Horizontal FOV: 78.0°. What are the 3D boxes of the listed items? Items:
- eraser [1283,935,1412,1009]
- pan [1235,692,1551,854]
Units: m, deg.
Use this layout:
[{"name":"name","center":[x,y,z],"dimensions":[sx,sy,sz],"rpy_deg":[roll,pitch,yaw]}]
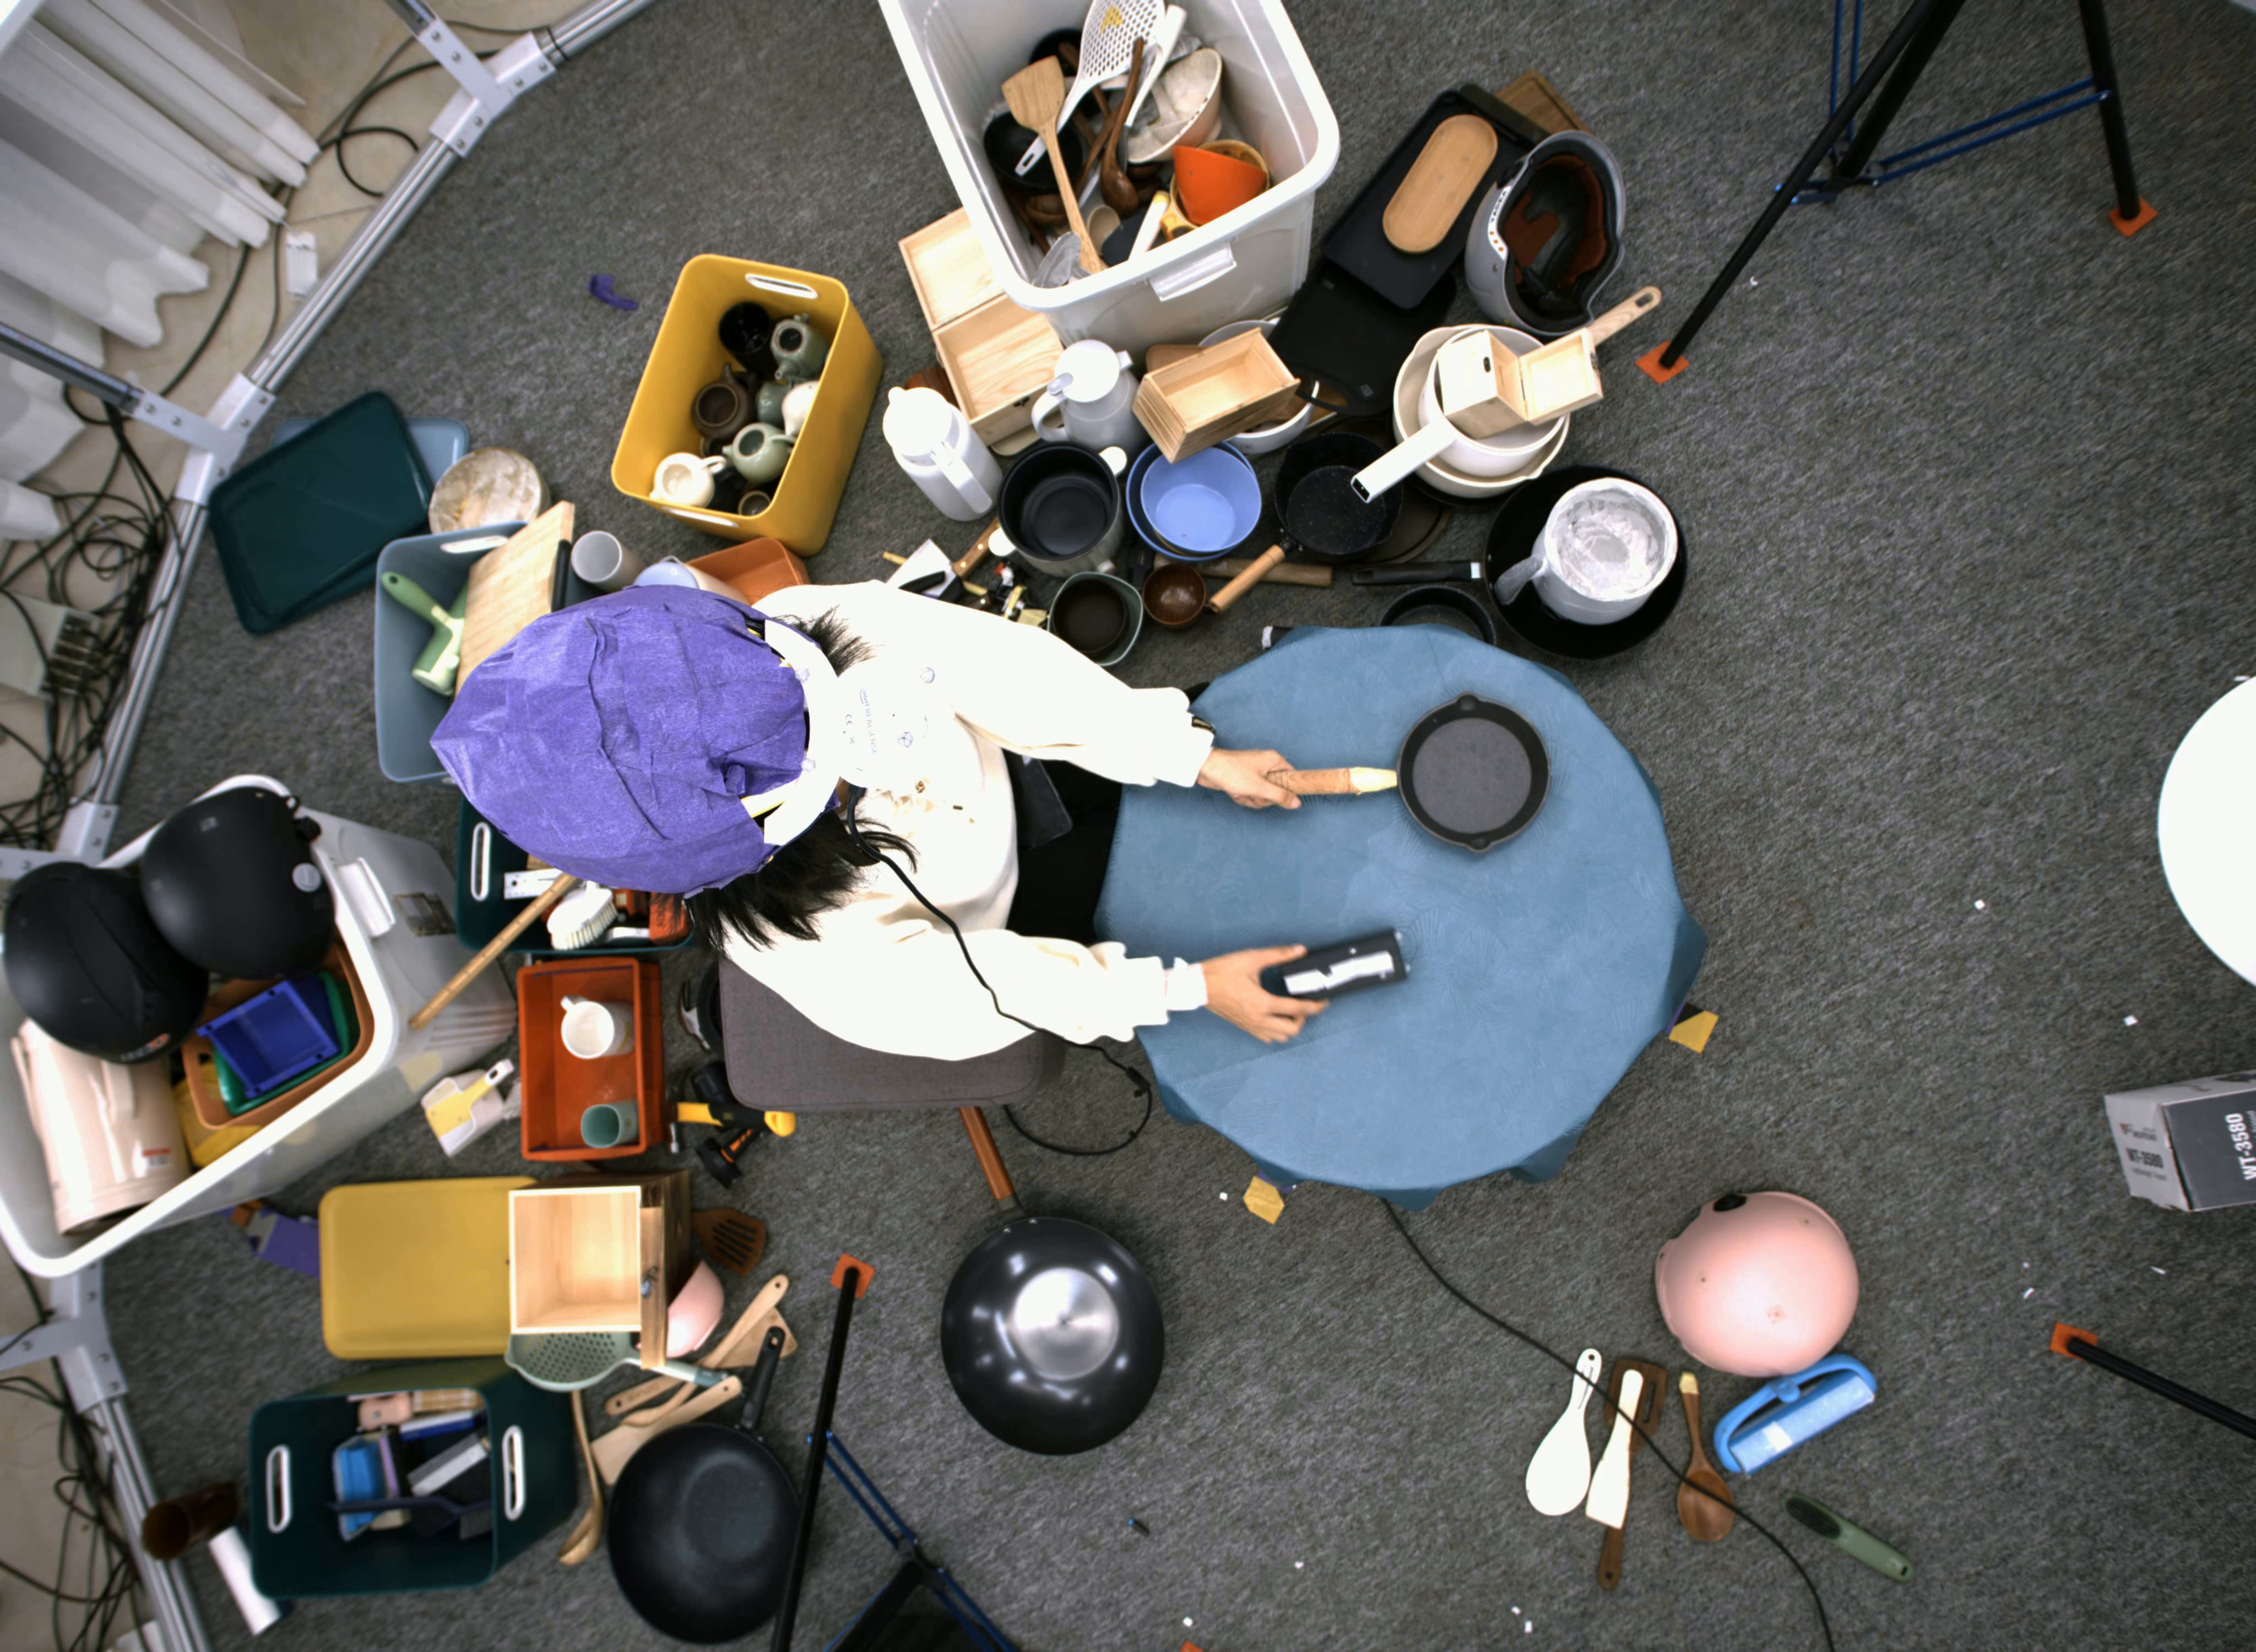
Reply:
[{"name":"eraser","center":[0.227,0.149,1.435],"dimensions":[0.126,0.030,0.054],"rpy_deg":[-13,97,12]},{"name":"pan","center":[0.275,-0.054,1.440],"dimensions":[0.325,0.049,0.168],"rpy_deg":[-2,87,10]}]
